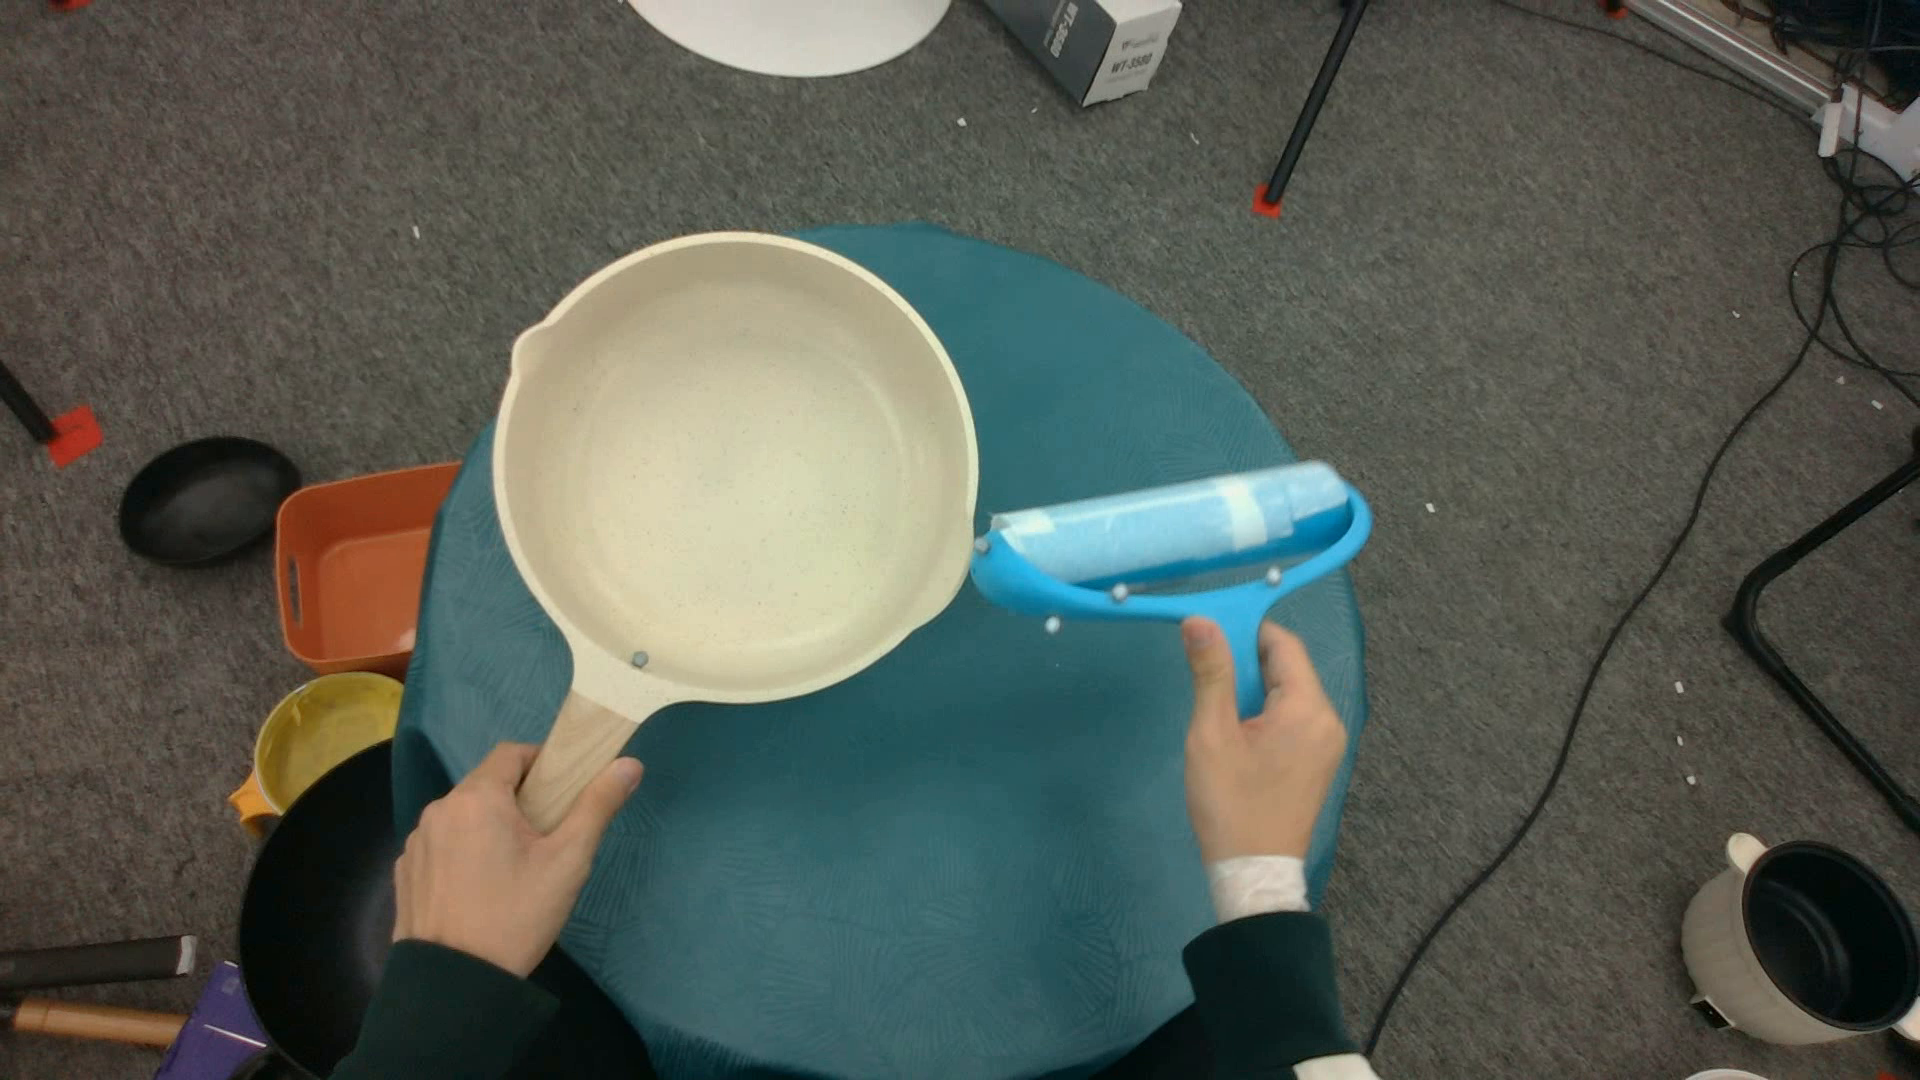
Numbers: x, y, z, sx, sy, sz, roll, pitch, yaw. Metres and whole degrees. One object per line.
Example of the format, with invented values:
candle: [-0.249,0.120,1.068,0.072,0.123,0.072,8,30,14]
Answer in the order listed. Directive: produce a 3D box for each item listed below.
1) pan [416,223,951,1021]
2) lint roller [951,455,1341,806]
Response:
pan: [-0.172,0.039,0.745,0.263,0.102,0.435,27,80,-7]
lint roller: [0.123,0.046,0.729,0.229,0.067,0.180,-12,67,-24]
